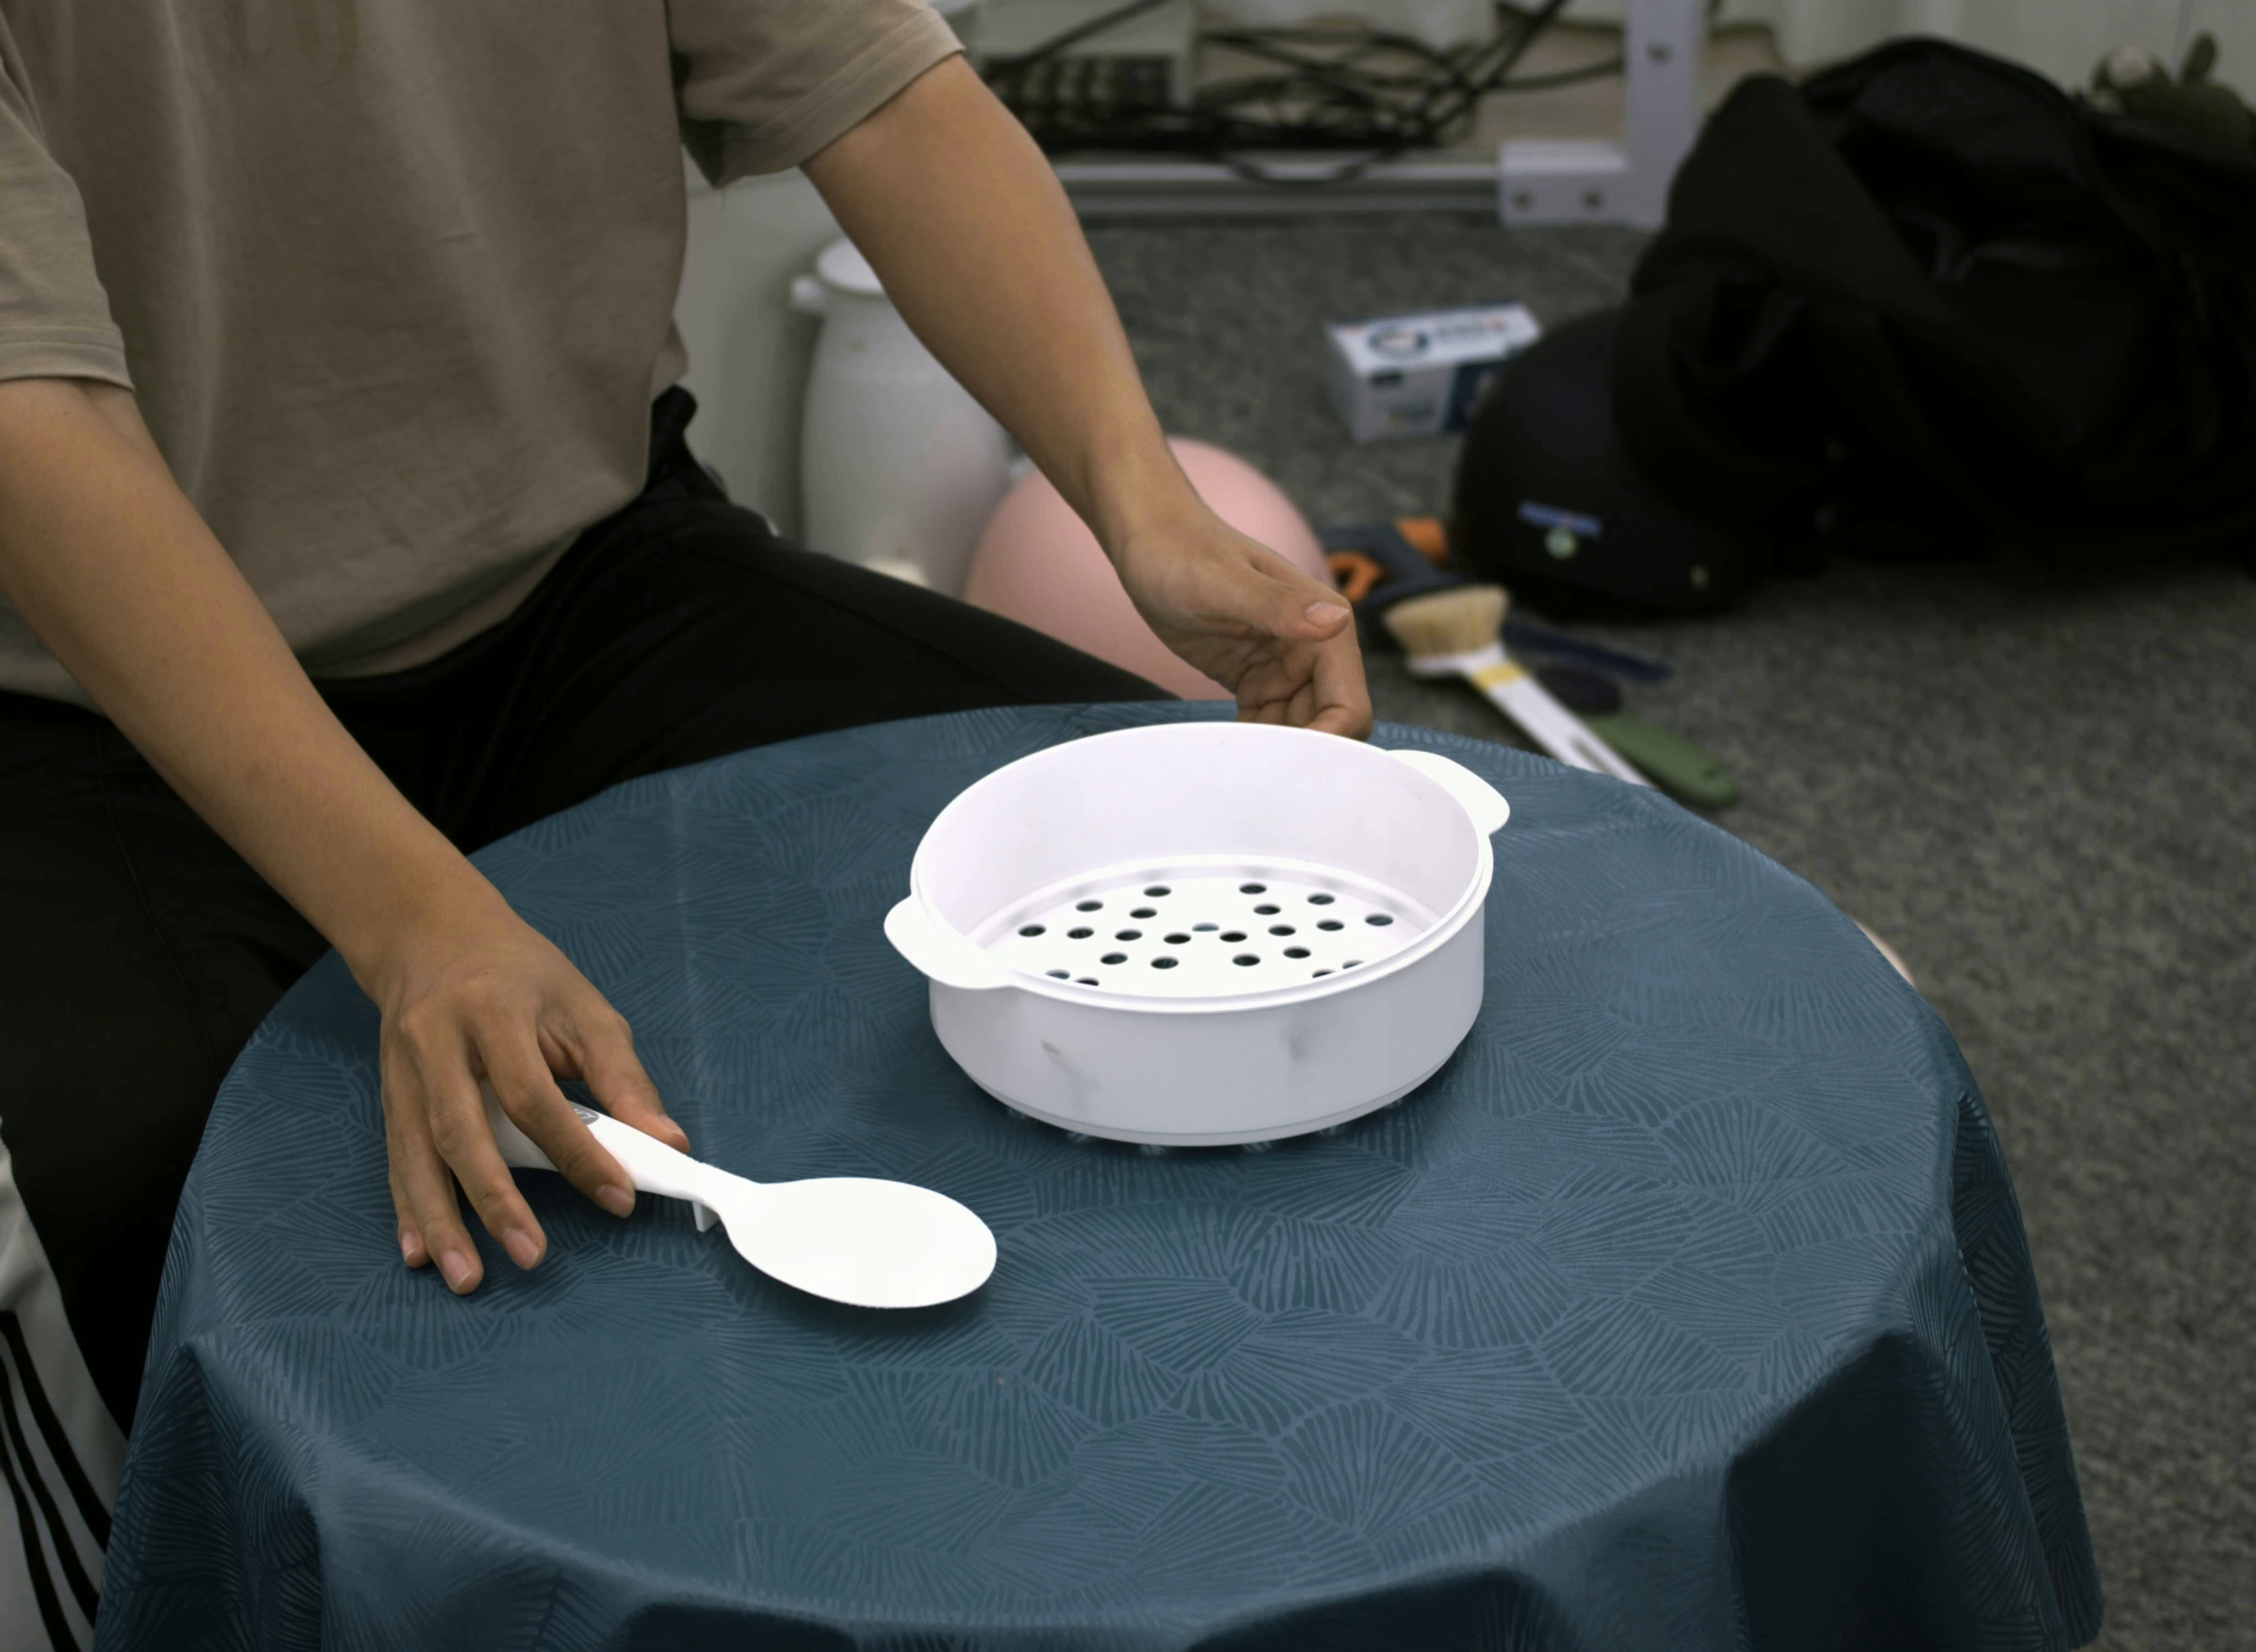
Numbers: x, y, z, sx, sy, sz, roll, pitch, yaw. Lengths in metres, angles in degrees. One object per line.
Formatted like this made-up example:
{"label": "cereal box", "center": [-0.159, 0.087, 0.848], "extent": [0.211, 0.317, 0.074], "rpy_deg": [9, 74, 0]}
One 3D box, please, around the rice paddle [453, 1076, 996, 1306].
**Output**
{"label": "rice paddle", "center": [-0.133, 0.120, 1.843], "extent": [0.204, 0.029, 0.070], "rpy_deg": [15, 33, 29]}

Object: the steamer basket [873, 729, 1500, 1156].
{"label": "steamer basket", "center": [0.022, 0.041, 1.945], "extent": [0.232, 0.068, 0.203], "rpy_deg": [-15, 31, -26]}
